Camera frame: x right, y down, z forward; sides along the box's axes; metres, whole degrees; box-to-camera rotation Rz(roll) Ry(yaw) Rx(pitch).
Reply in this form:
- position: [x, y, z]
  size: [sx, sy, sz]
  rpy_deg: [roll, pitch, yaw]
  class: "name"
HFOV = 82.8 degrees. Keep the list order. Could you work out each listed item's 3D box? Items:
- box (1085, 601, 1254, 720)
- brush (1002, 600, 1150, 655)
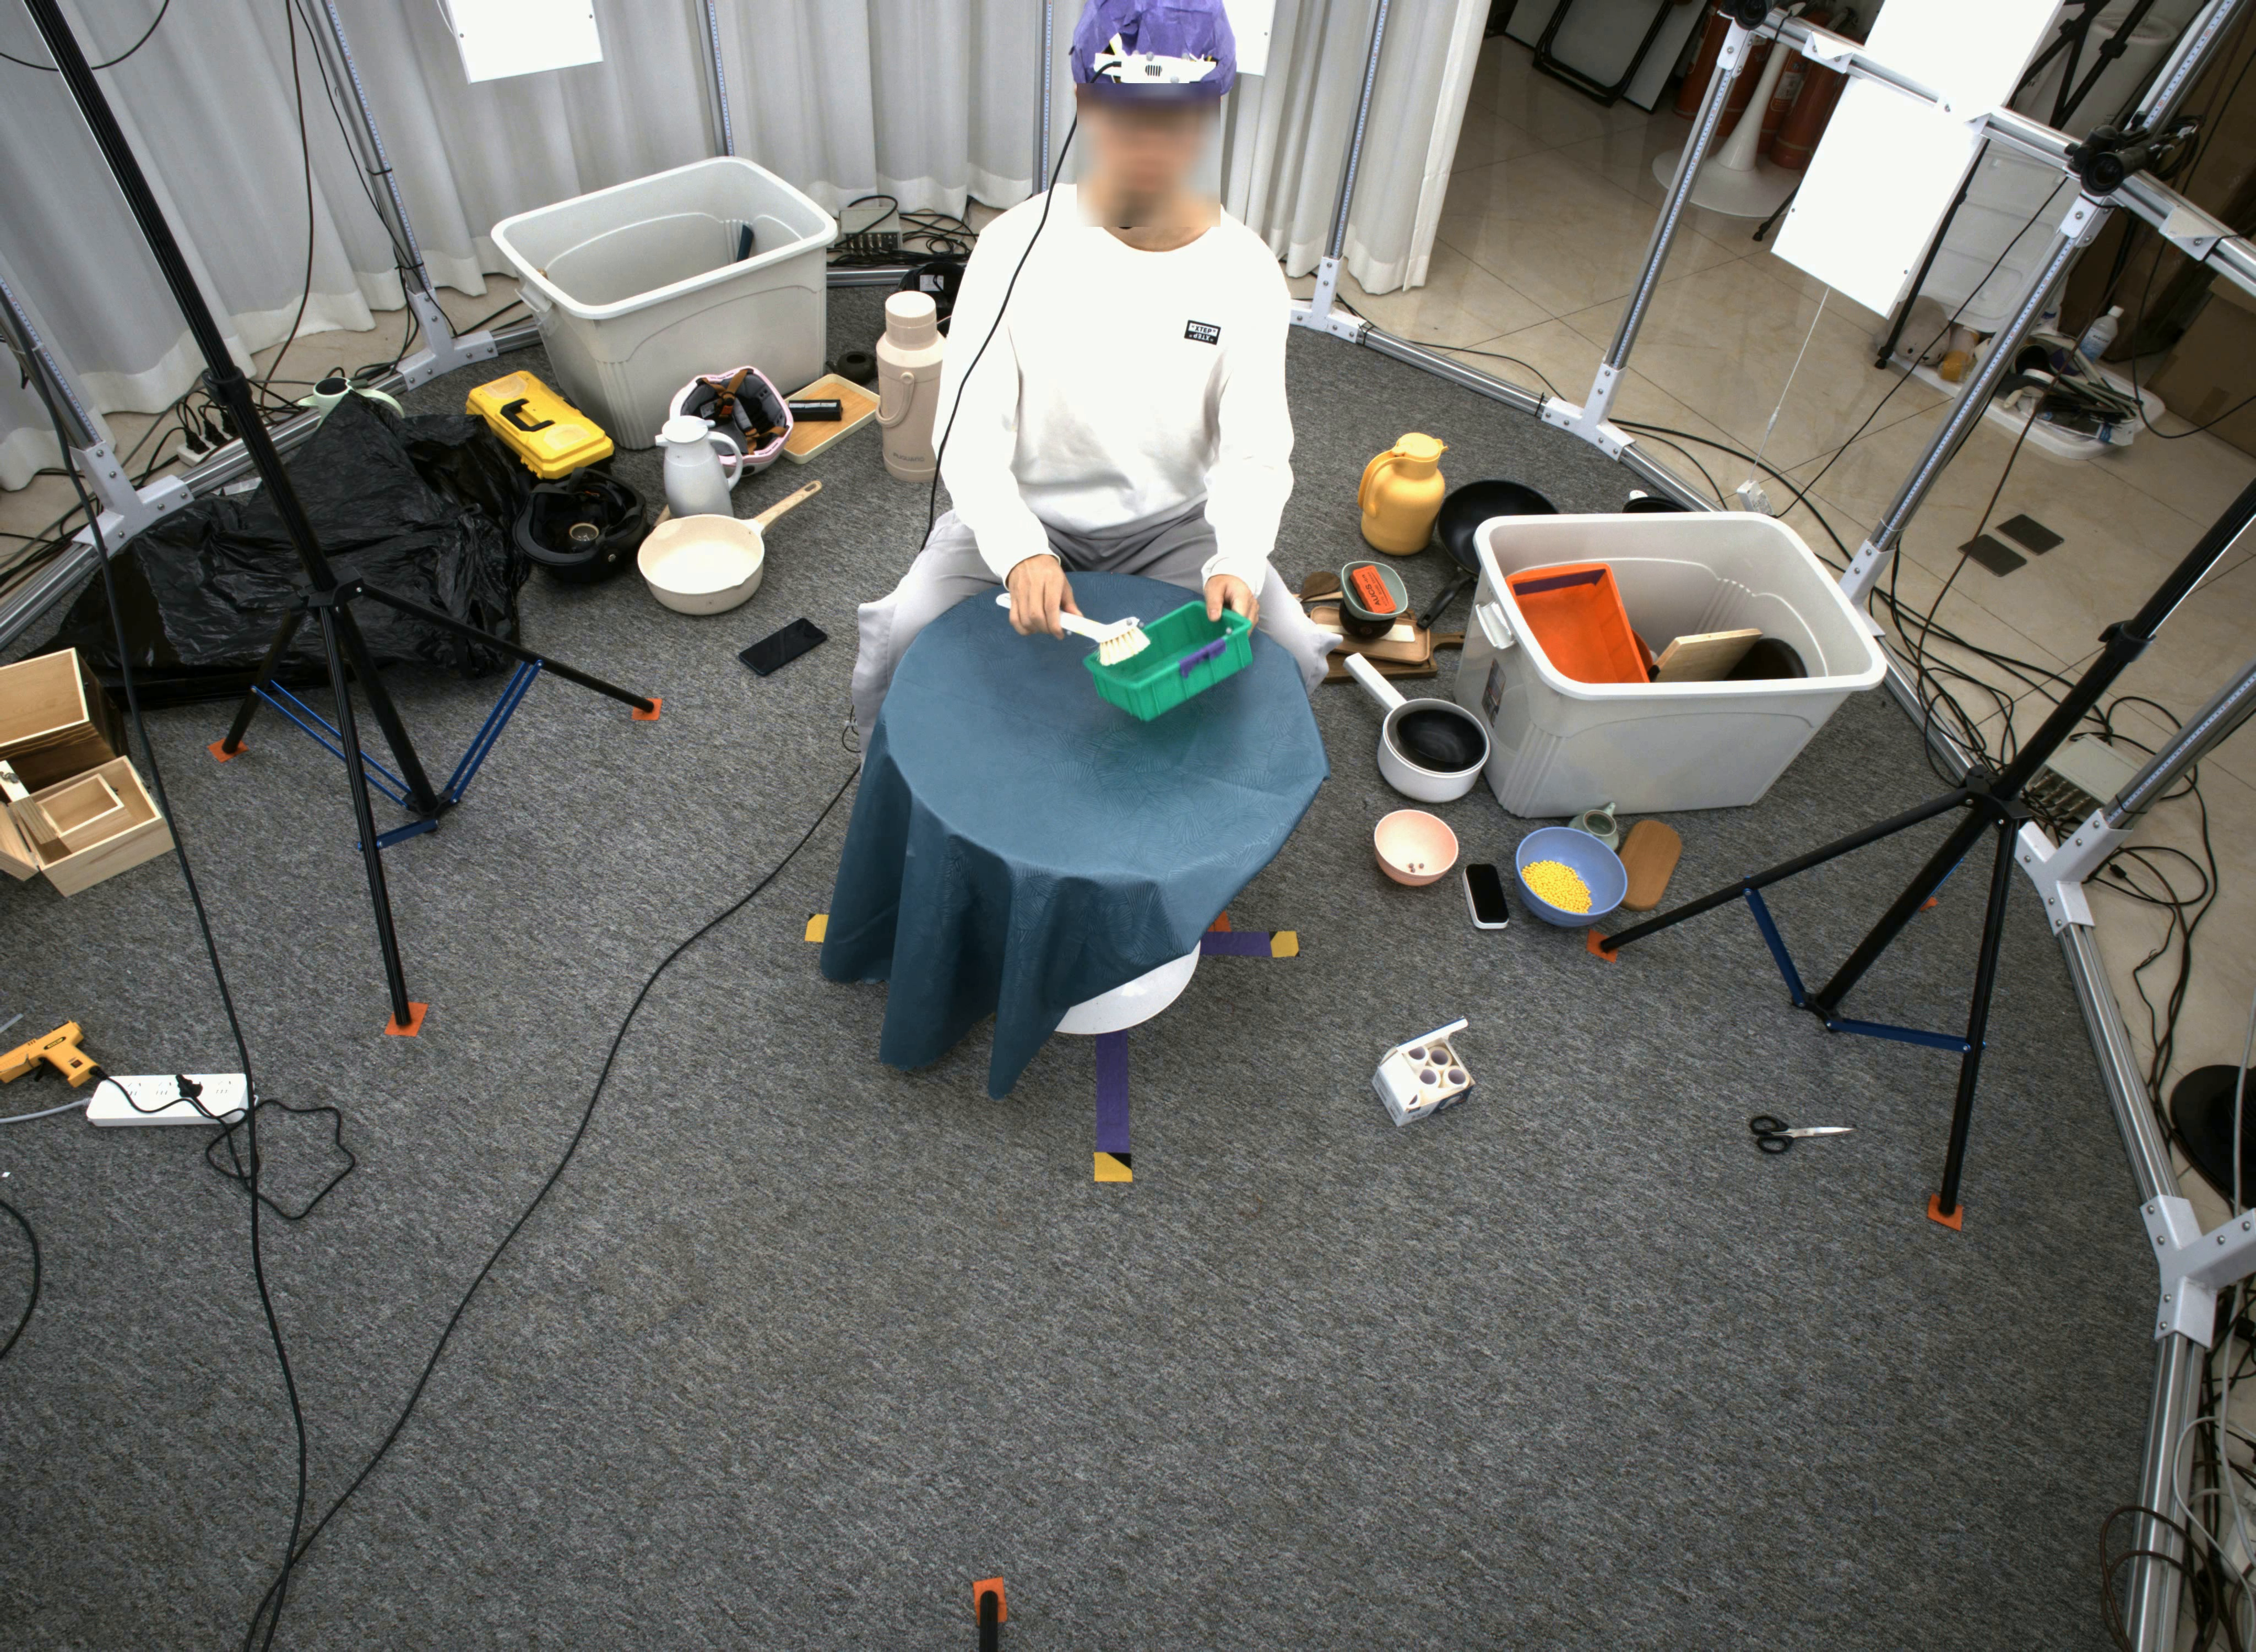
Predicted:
- position: [0.061, -0.225, 1.738]
  size: [0.211, 0.064, 0.141]
  rpy_deg: [-30, 36, -21]
  class: "box"
- position: [-0.076, -0.268, 1.728]
  size: [0.069, 0.055, 0.269]
  rpy_deg: [-23, 26, -39]
  class: "brush"
